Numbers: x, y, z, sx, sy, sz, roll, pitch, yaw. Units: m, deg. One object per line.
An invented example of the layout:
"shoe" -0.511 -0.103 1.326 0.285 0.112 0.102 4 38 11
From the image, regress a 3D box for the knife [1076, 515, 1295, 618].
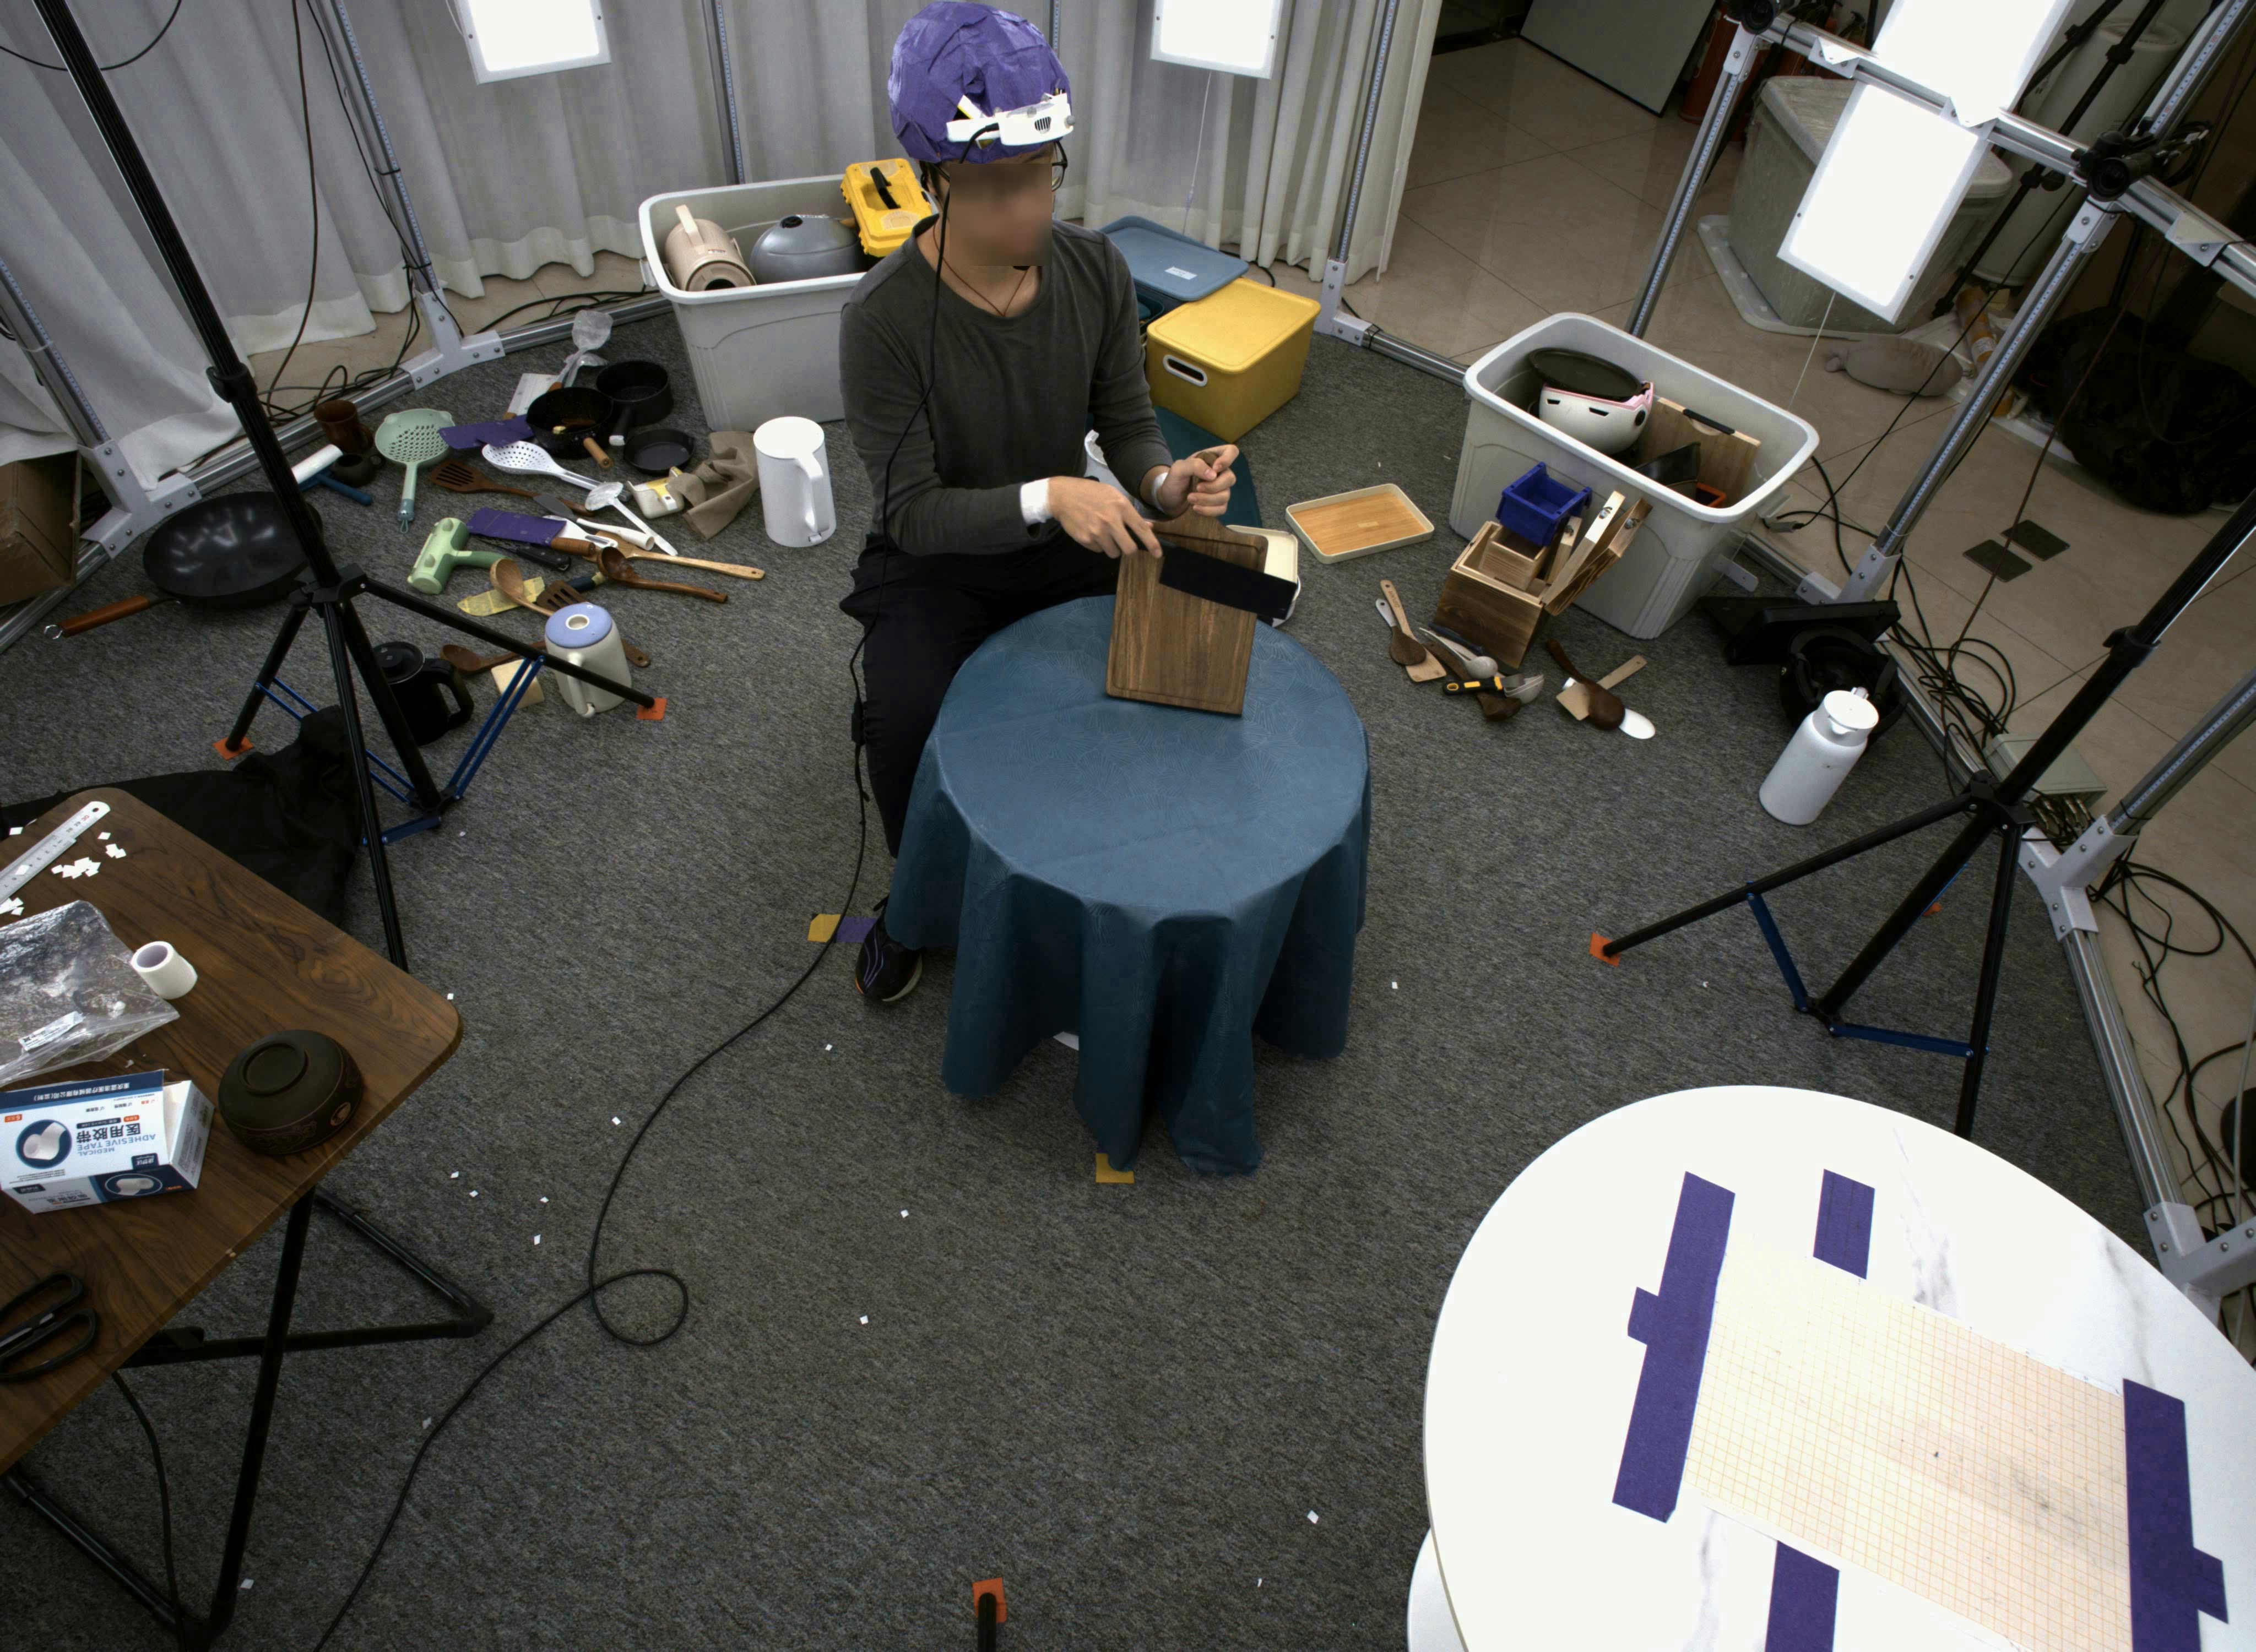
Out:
"knife" 0.075 -0.348 1.717 0.302 0.079 0.021 21 42 1

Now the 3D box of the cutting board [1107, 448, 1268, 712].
"cutting board" 0.085 -0.336 1.762 0.201 0.347 0.023 8 18 3
